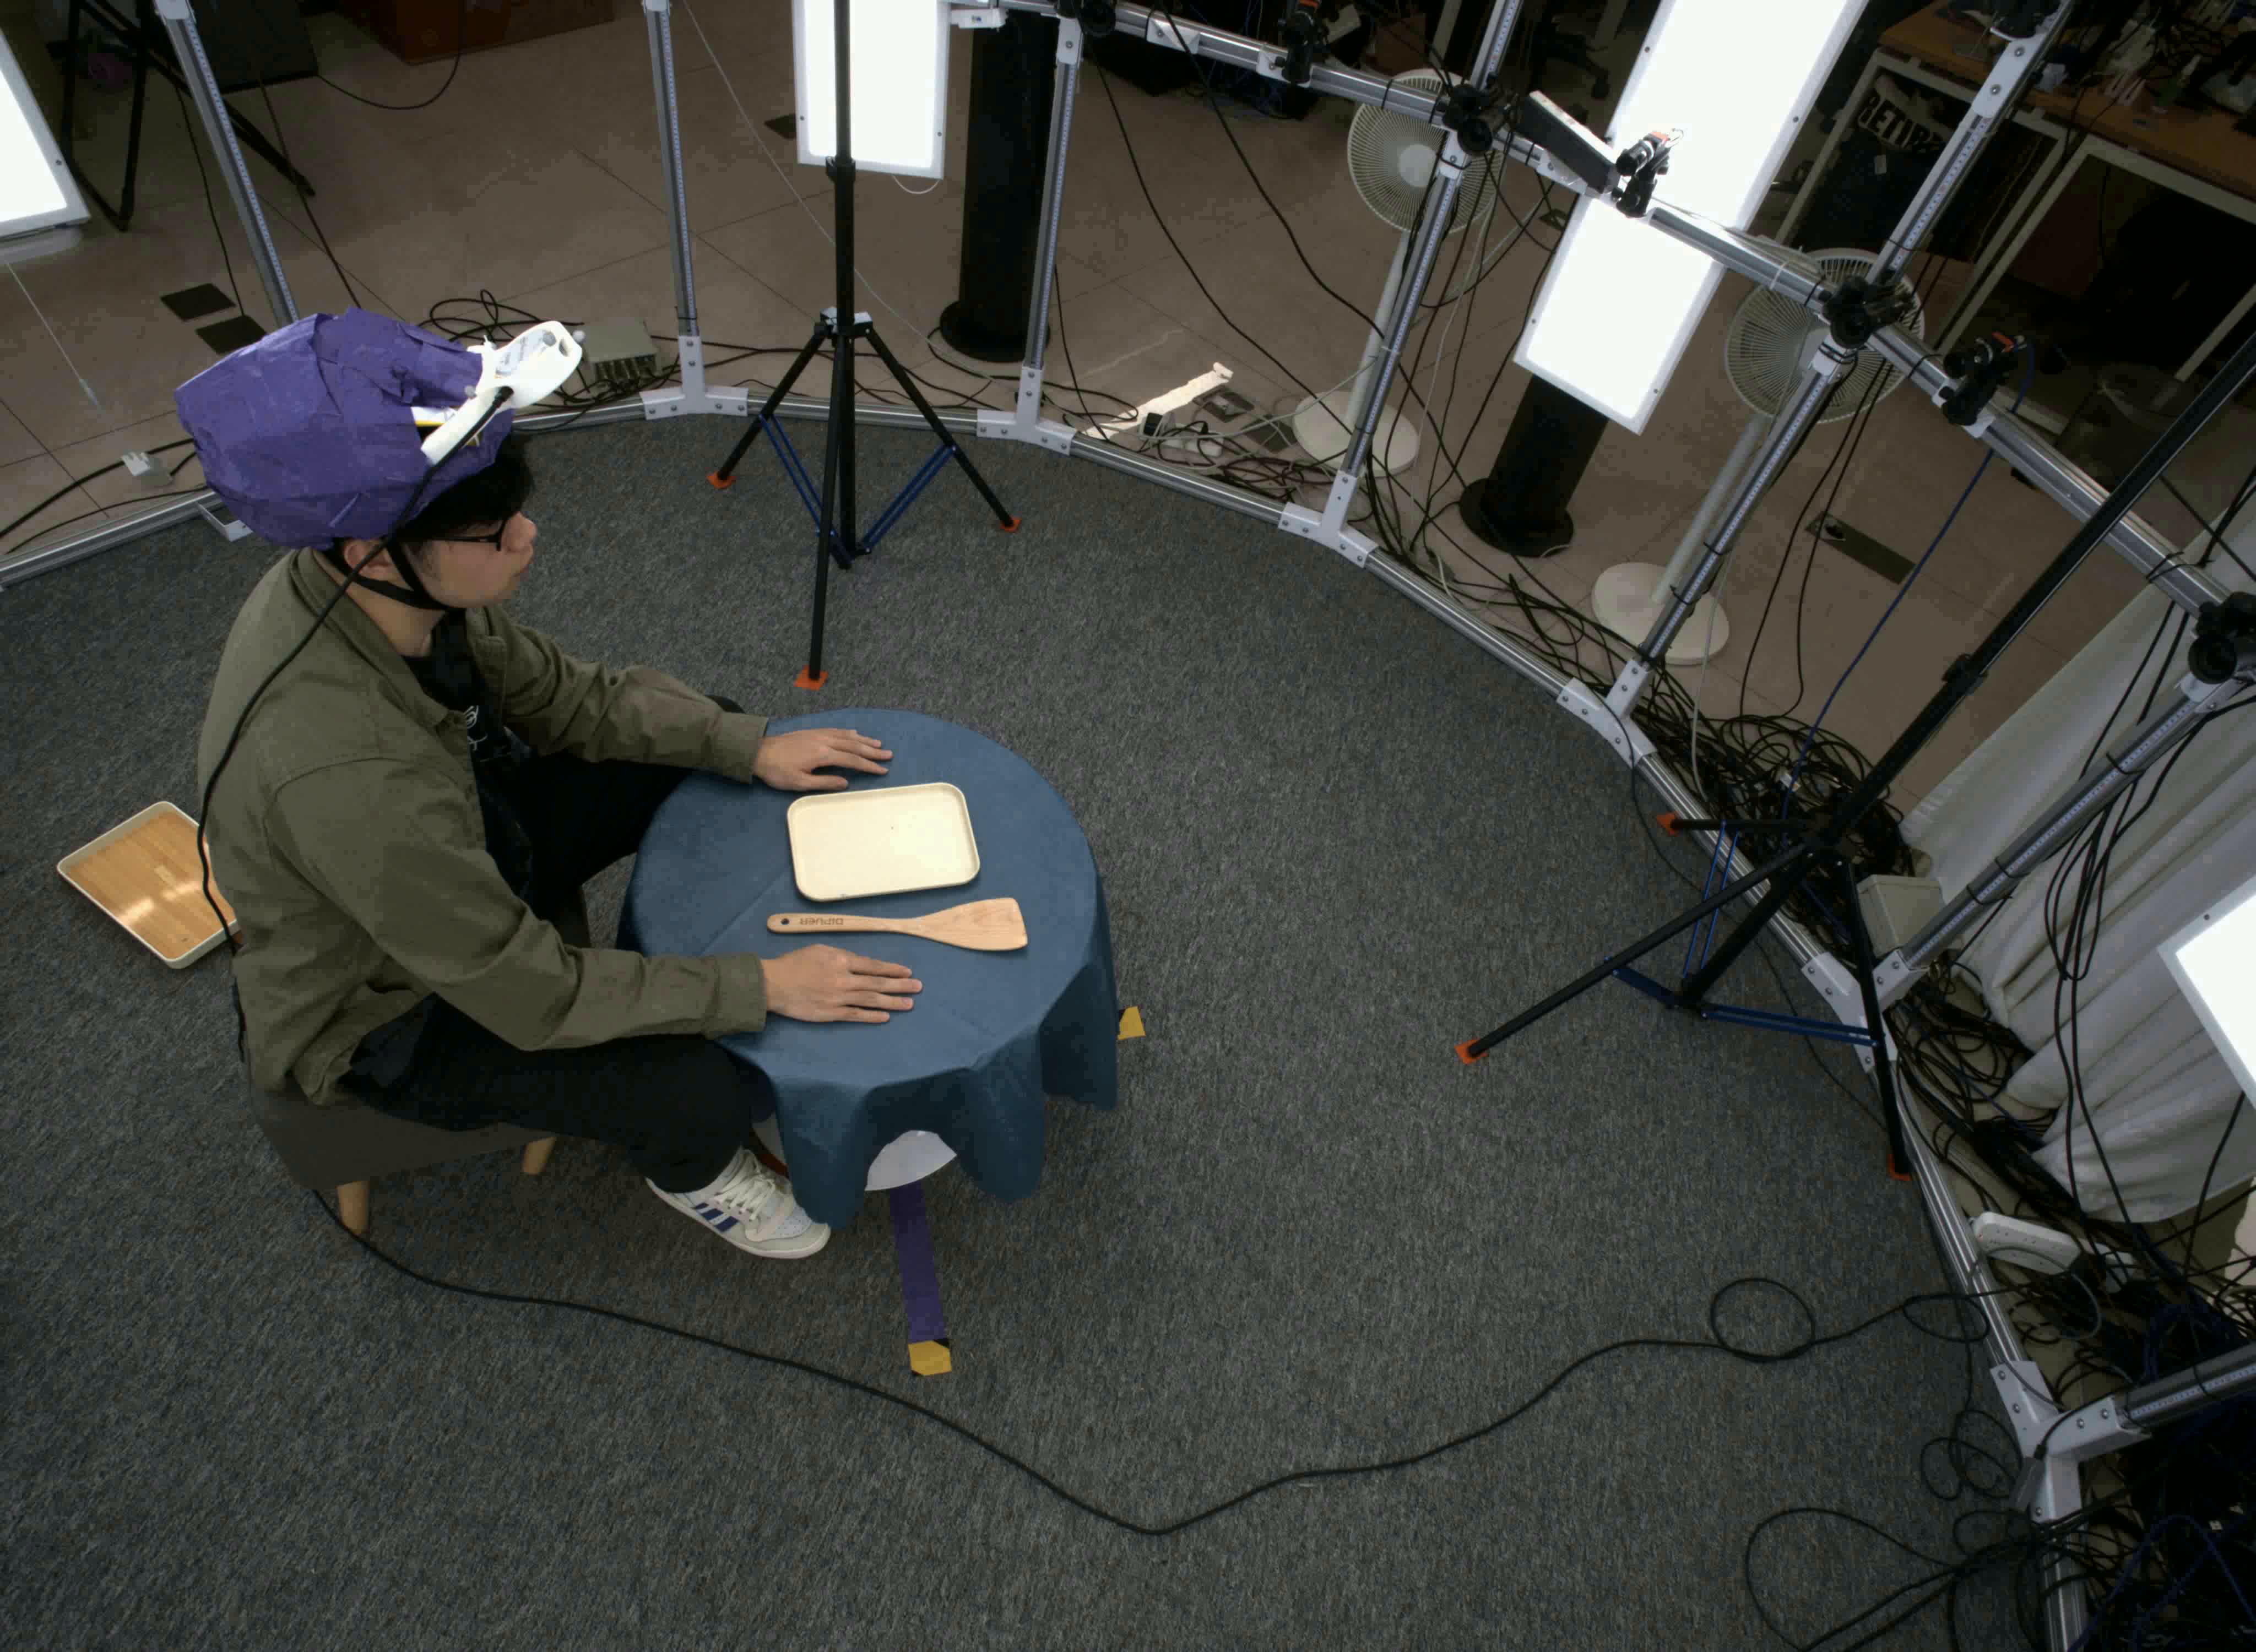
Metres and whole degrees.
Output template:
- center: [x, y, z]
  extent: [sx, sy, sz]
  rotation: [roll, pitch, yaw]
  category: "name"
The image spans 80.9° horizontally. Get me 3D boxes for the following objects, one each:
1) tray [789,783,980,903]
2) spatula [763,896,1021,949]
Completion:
- center: [-0.325, 0.022, 1.738]
  extent: [0.240, 0.018, 0.167]
  rotation: [-7, 55, -17]
  category: "tray"
- center: [-0.301, 0.123, 1.669]
  extent: [0.328, 0.017, 0.078]
  rotation: [1, 53, -13]
  category: "spatula"
